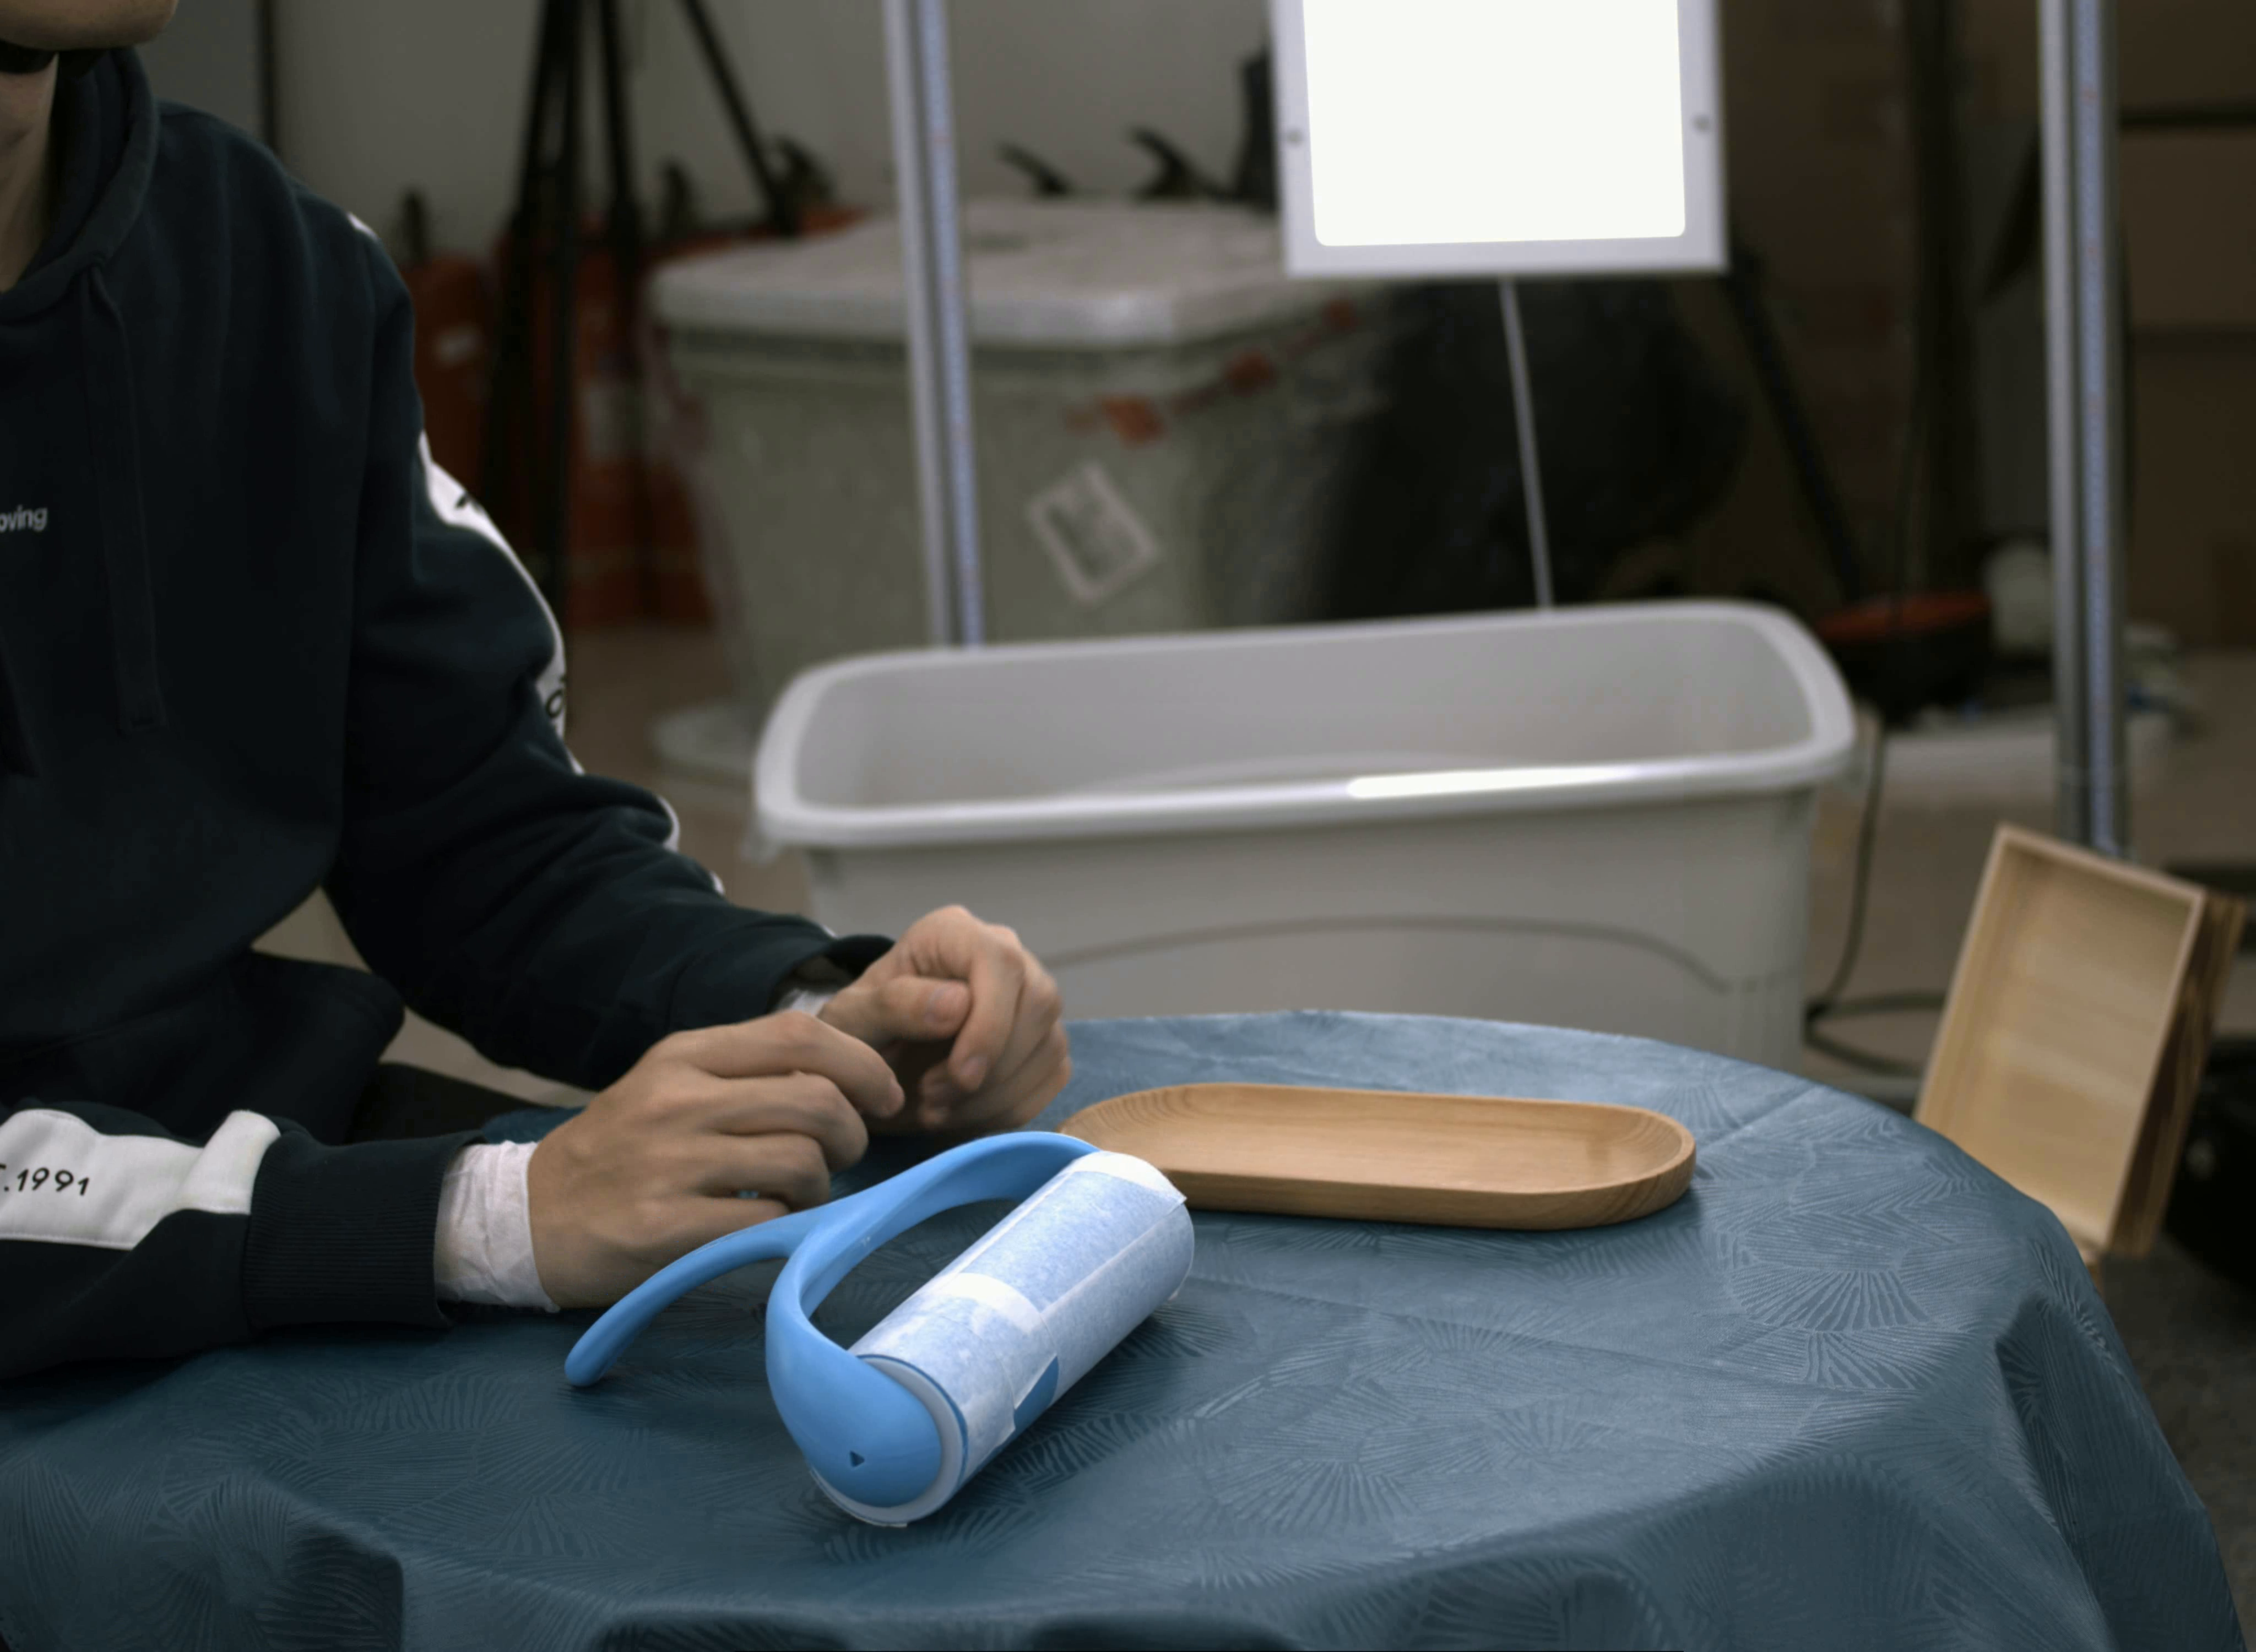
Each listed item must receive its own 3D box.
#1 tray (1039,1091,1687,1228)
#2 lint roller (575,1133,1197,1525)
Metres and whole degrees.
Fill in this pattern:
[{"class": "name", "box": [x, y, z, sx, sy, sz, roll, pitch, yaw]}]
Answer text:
[{"class": "tray", "box": [0.080, 0.114, 1.884, 0.235, 0.020, 0.099, -1, 13, 26]}, {"class": "lint roller", "box": [-0.092, 0.152, 1.705, 0.182, 0.068, 0.225, 1, 16, 20]}]
